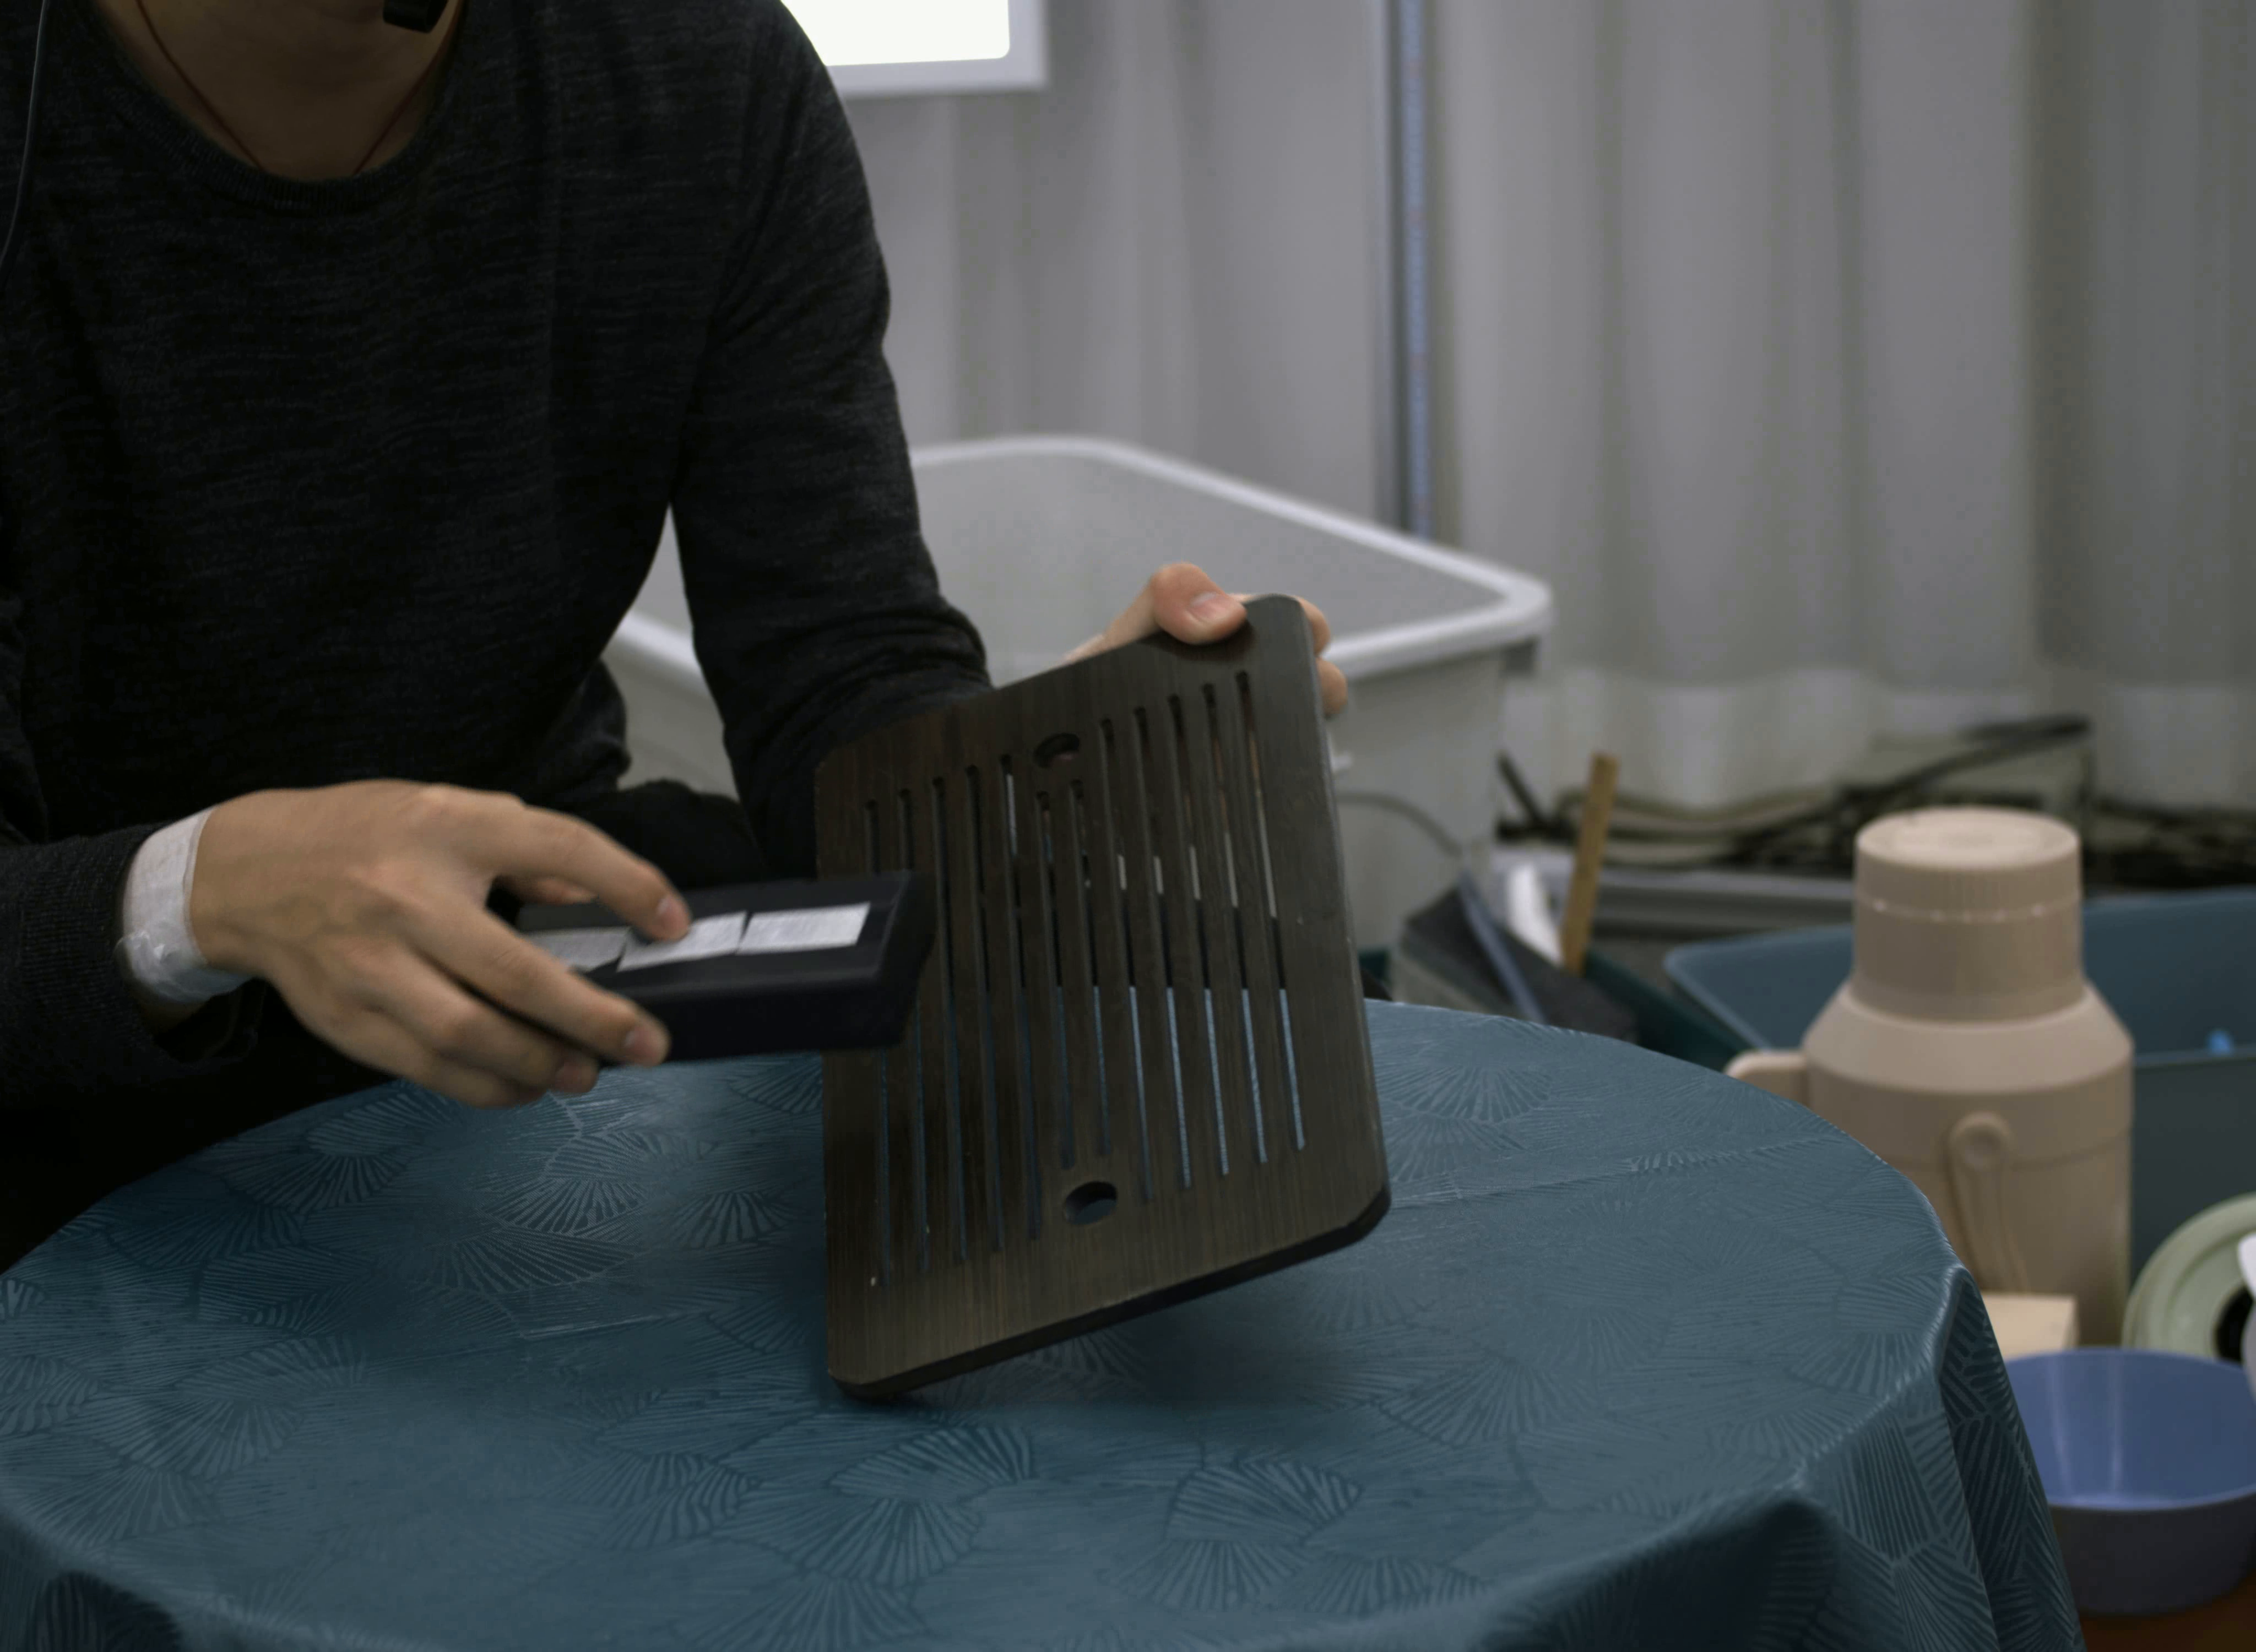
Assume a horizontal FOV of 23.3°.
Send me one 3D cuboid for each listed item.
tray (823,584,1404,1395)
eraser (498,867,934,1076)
[{"bbox_3d":[-0.010,0.044,1.647,0.169,0.018,0.310,-19,36,11],"label":"tray"},{"bbox_3d":[-0.120,0.043,1.617,0.125,0.030,0.054,-7,35,13],"label":"eraser"}]
